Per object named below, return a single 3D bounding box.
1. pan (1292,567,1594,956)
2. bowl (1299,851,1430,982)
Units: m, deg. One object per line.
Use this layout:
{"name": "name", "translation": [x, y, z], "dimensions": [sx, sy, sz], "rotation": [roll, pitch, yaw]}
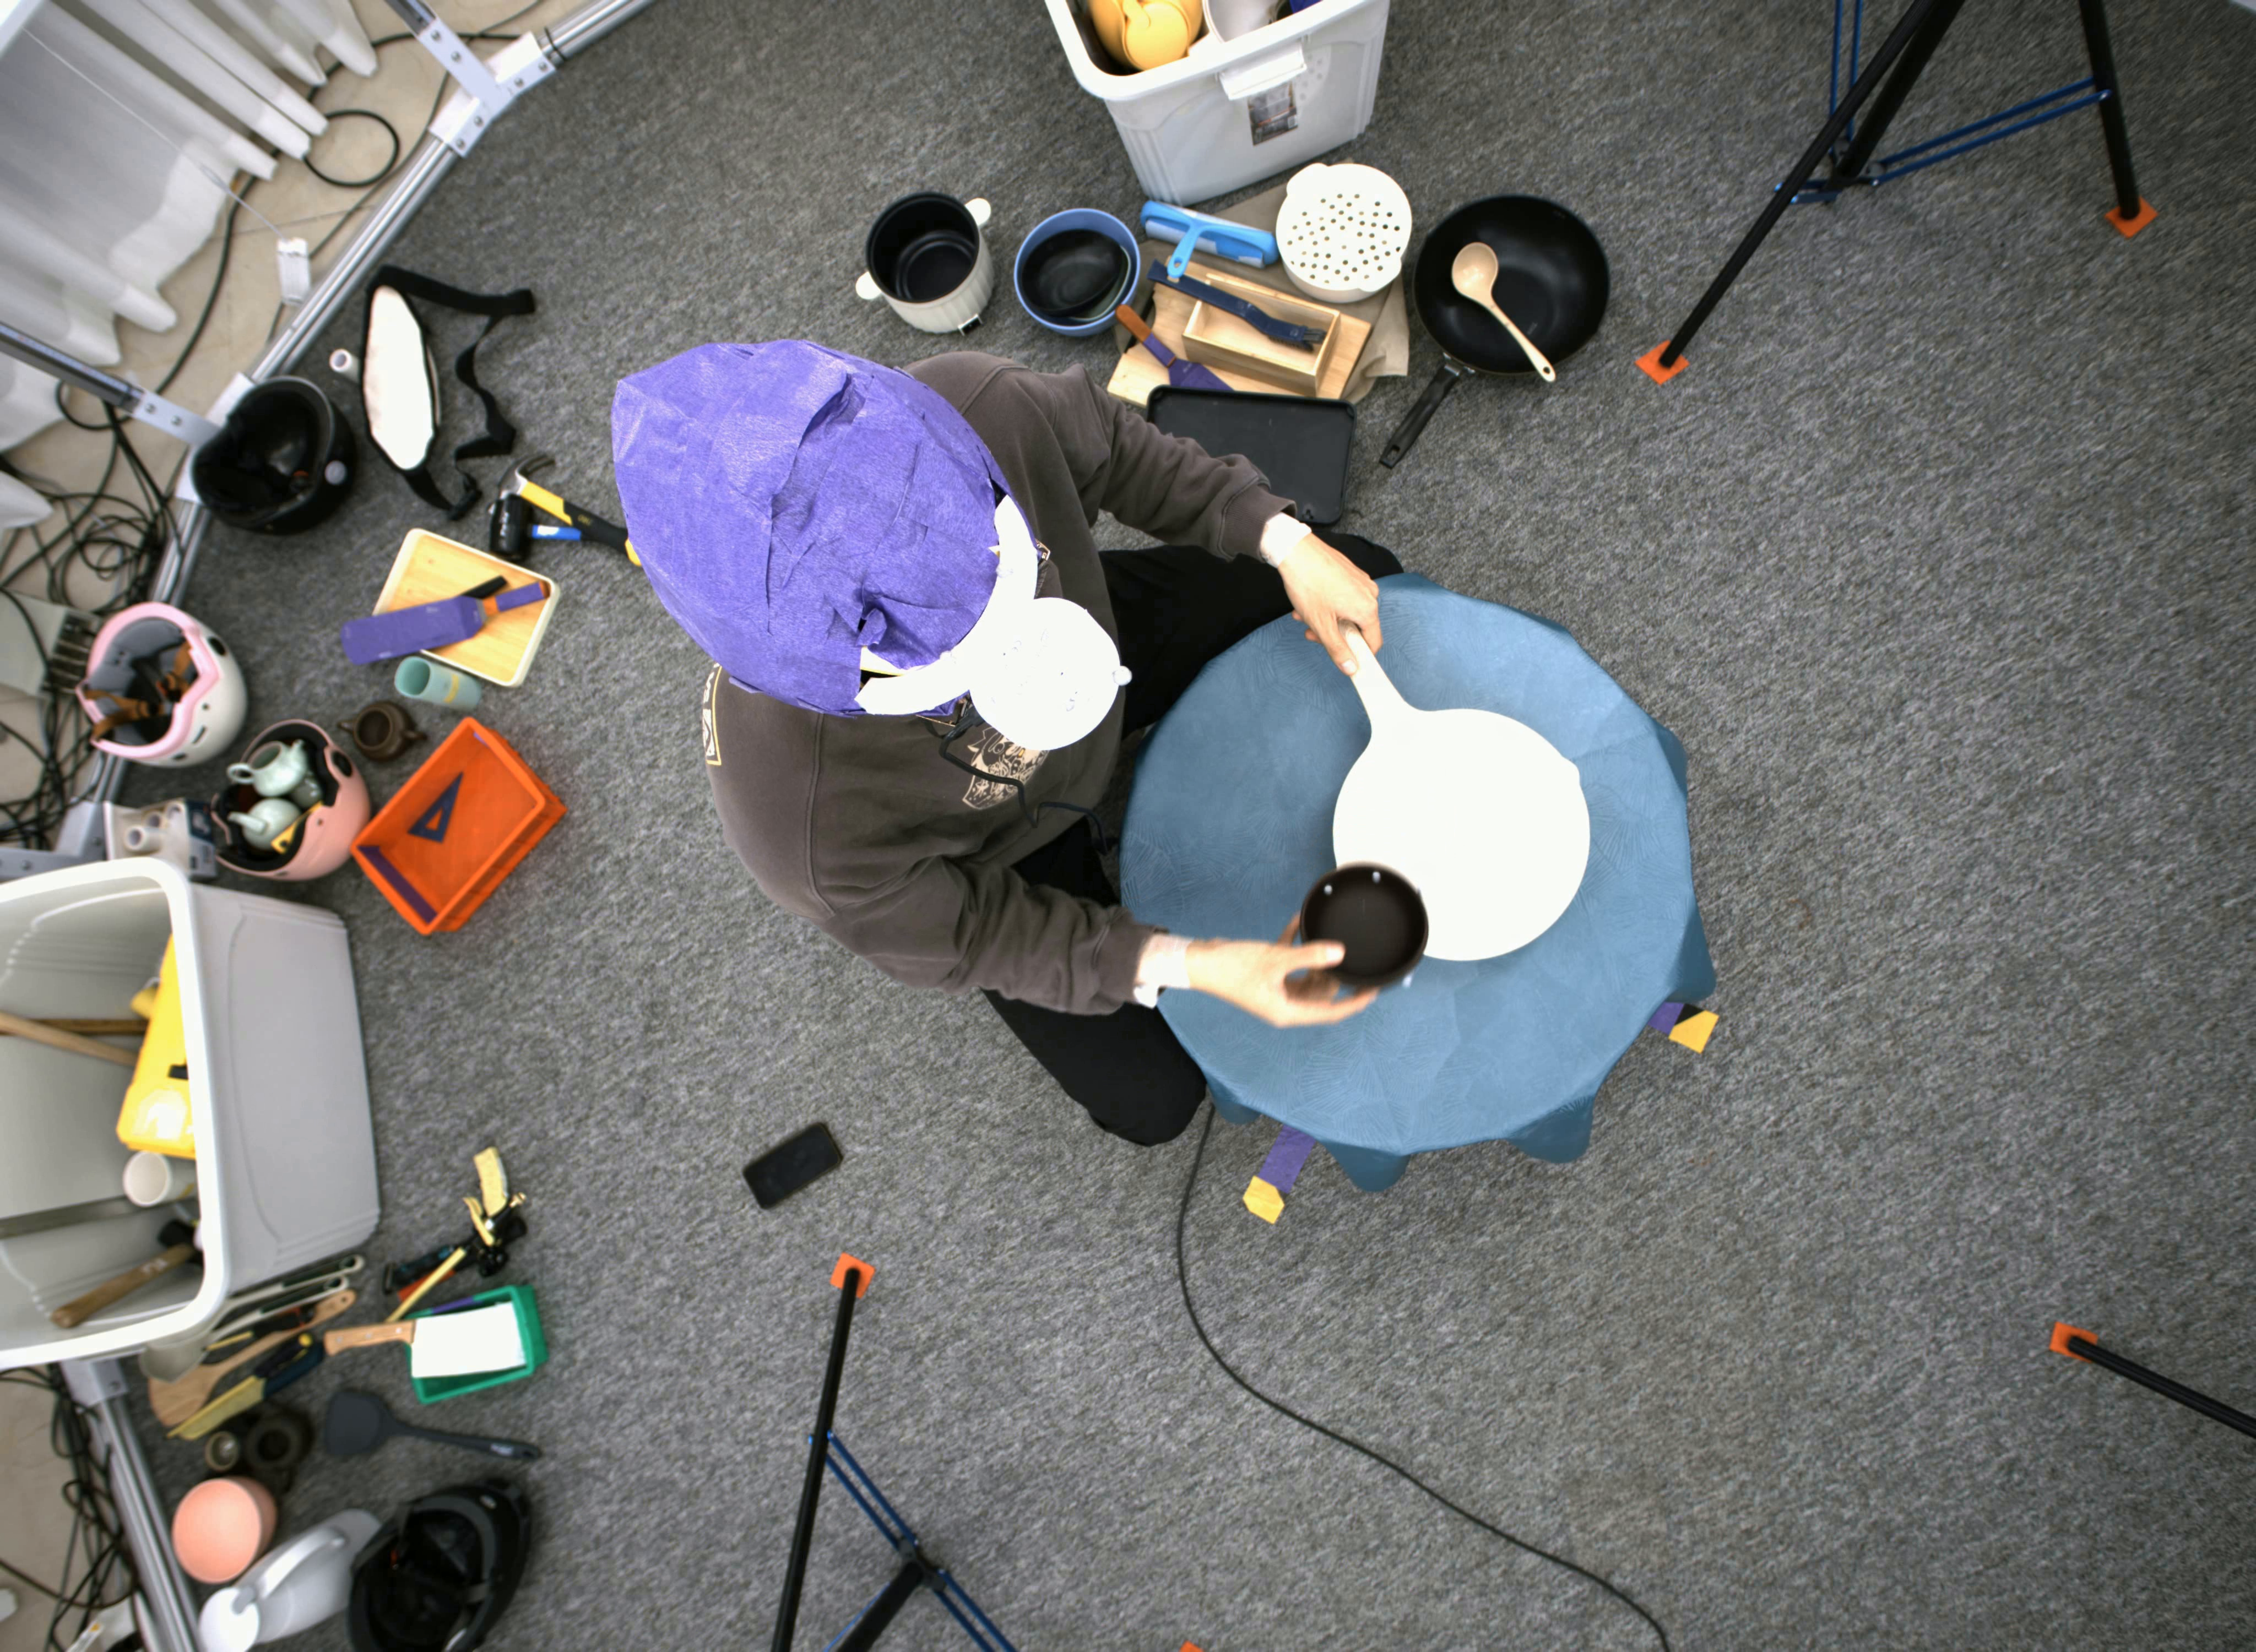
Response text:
{"name": "pan", "translation": [0.294, -0.074, 1.410], "dimensions": [0.265, 0.102, 0.432], "rotation": [-31, 82, 9]}
{"name": "bowl", "translation": [0.217, 0.086, 1.271], "dimensions": [0.118, 0.070, 0.116], "rotation": [-3, 77, 11]}
